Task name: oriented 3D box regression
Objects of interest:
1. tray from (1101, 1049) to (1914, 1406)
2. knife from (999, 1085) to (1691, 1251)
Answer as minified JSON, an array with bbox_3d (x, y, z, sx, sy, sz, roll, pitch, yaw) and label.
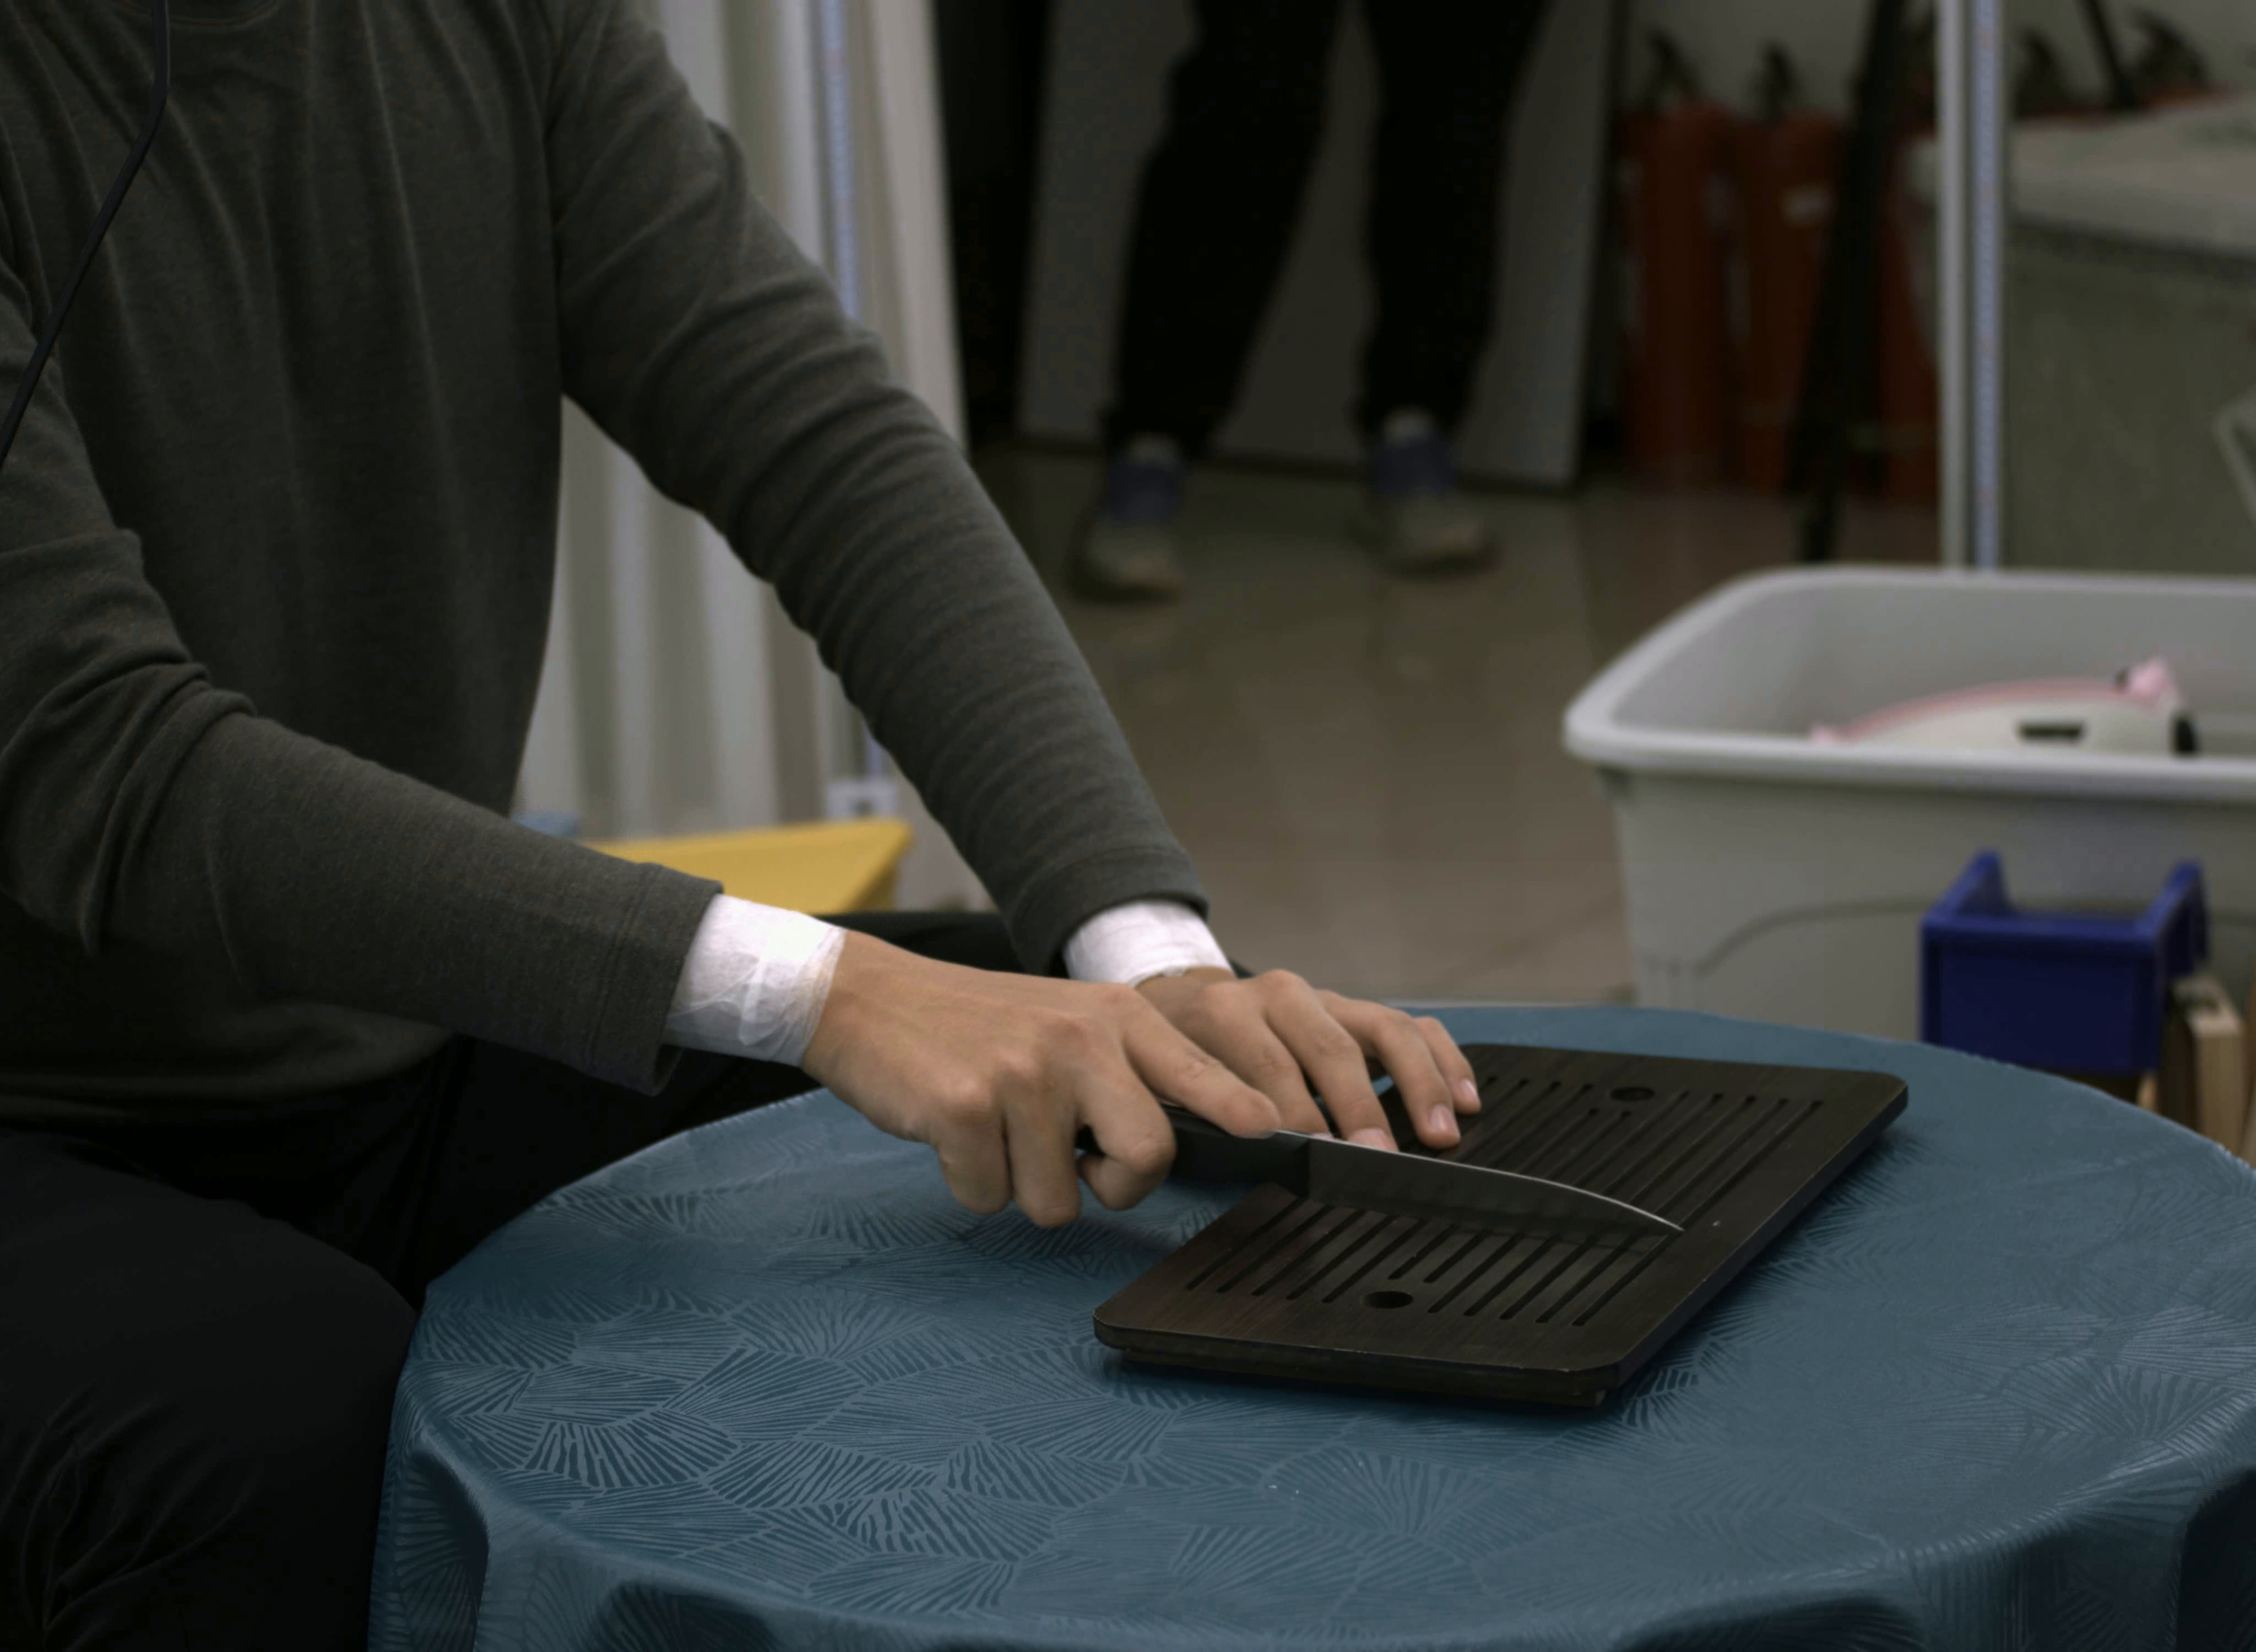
[{"bbox_3d":[0.127,0.123,1.692,0.170,0.019,0.302,2,15,26],"label":"tray"},{"bbox_3d":[0.065,0.106,1.676,0.239,0.025,0.016,9,19,27],"label":"knife"}]
